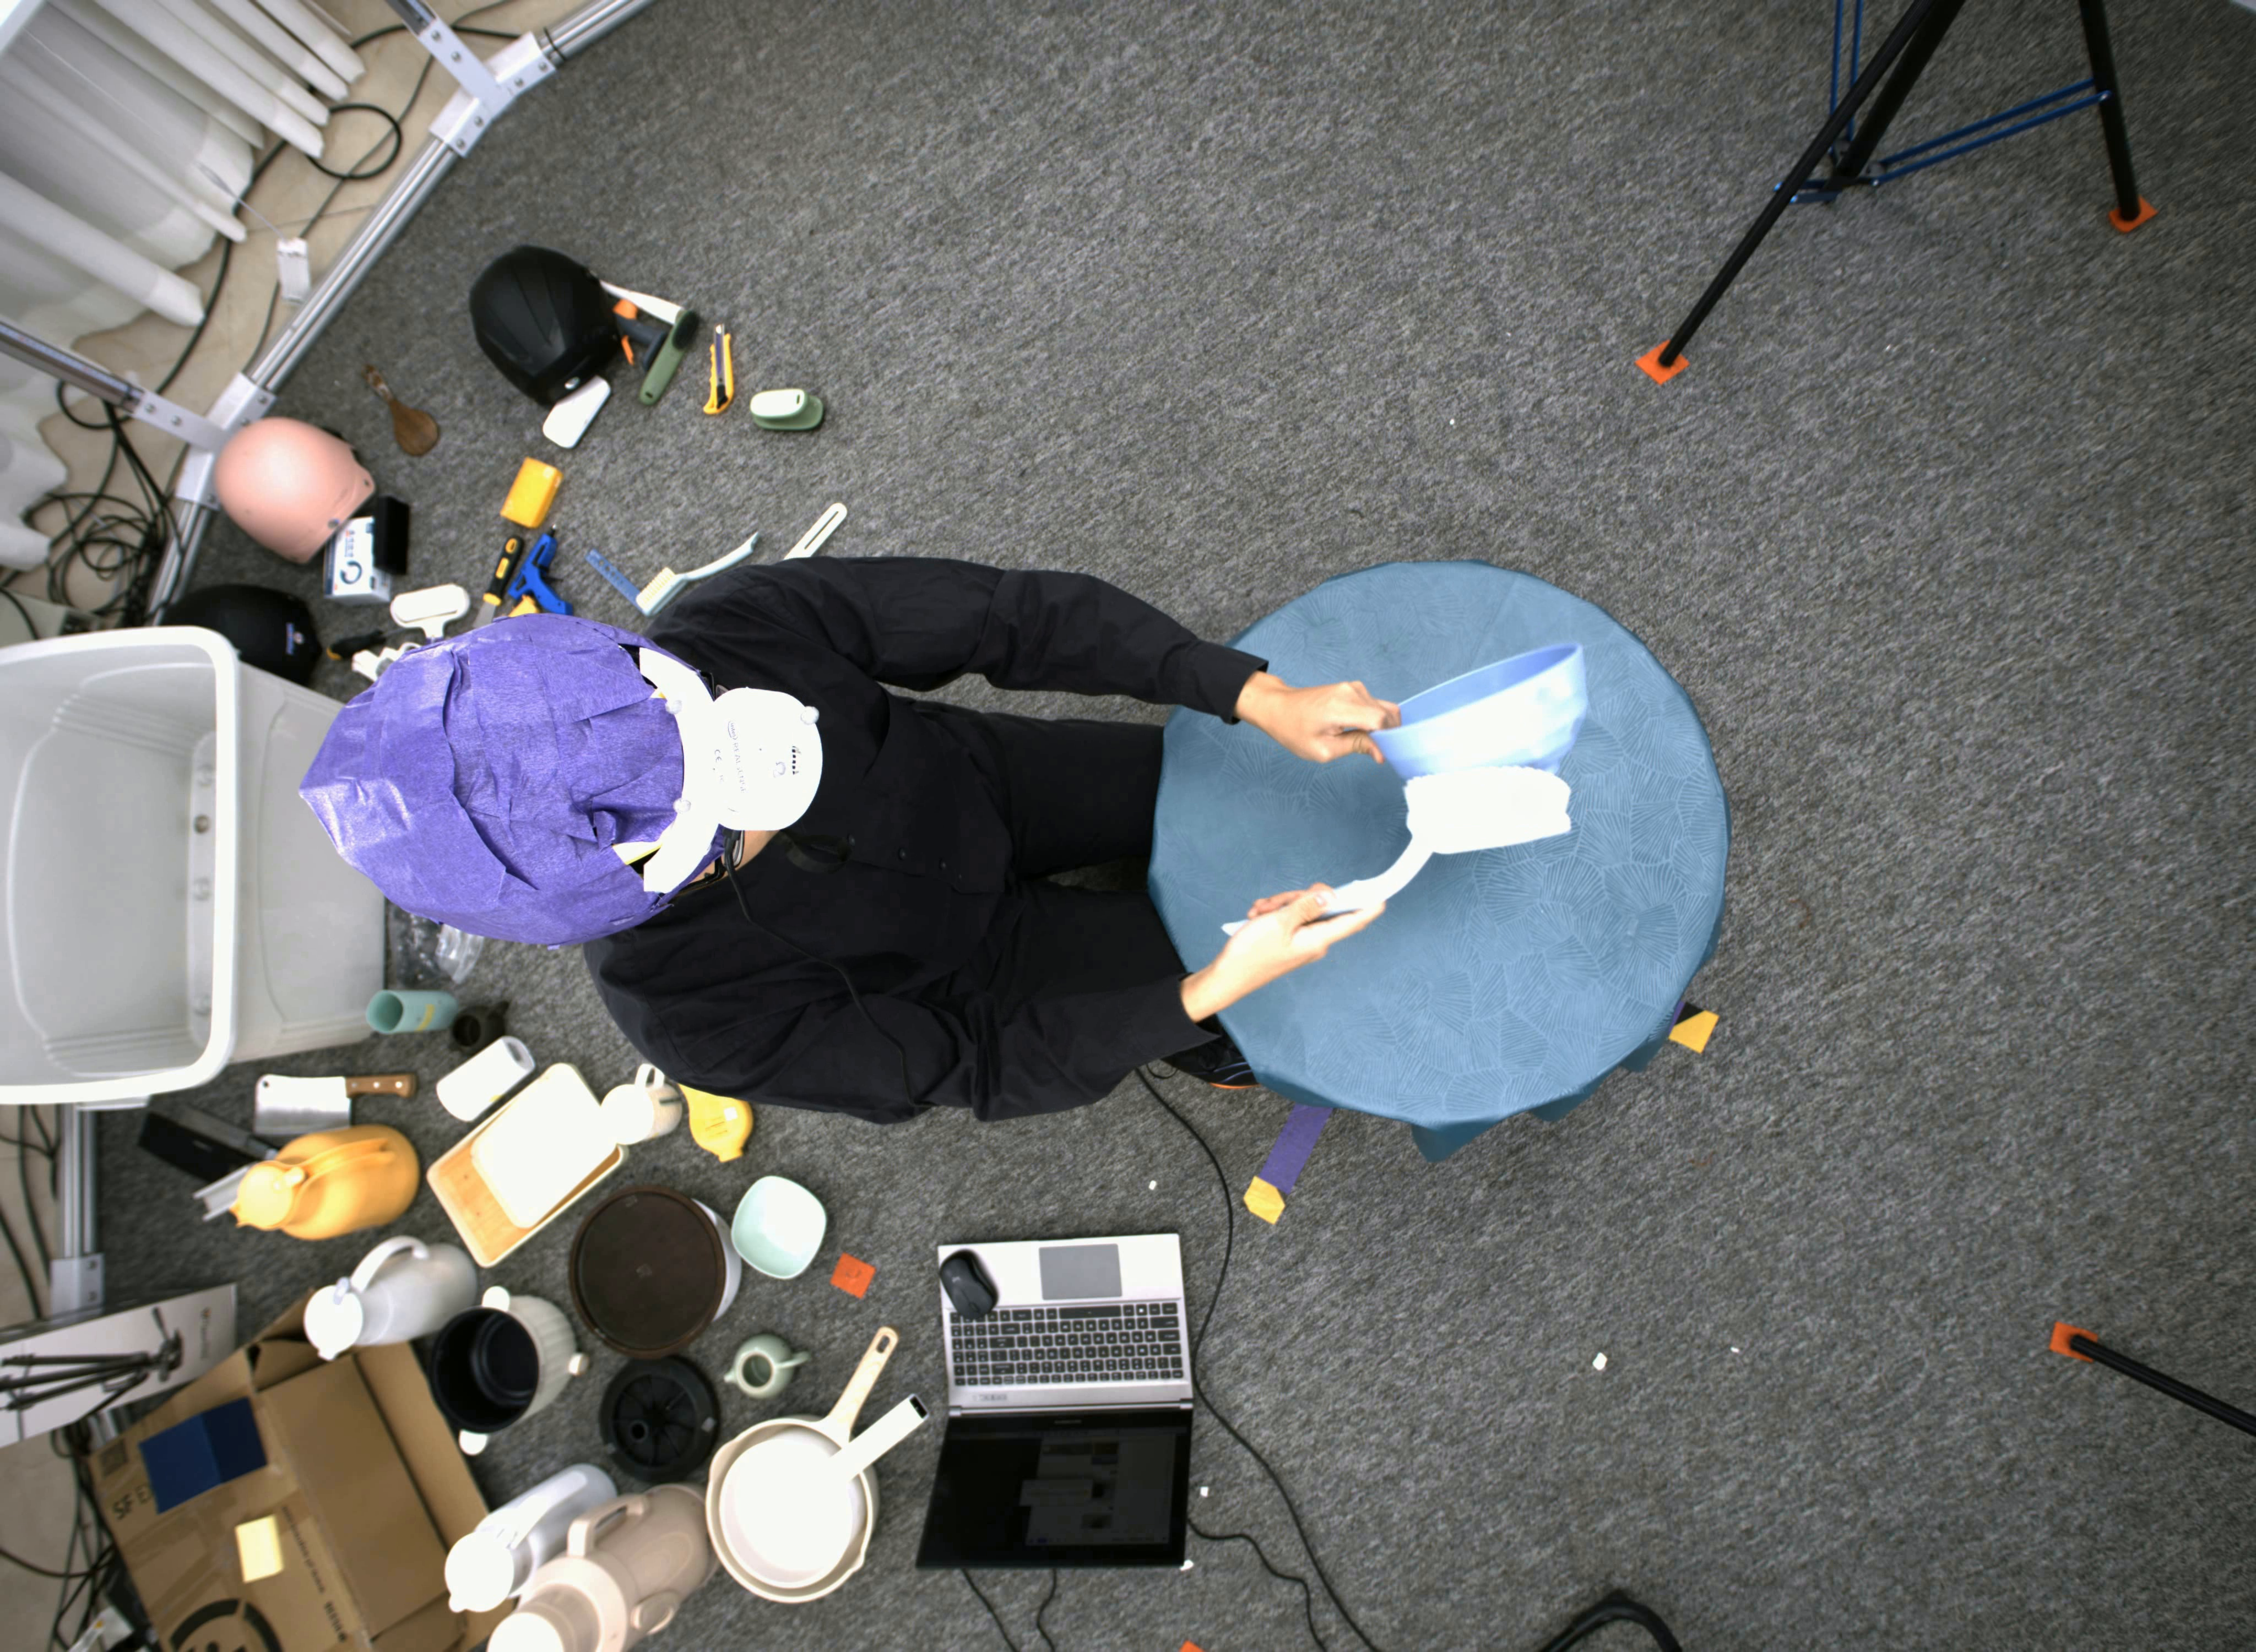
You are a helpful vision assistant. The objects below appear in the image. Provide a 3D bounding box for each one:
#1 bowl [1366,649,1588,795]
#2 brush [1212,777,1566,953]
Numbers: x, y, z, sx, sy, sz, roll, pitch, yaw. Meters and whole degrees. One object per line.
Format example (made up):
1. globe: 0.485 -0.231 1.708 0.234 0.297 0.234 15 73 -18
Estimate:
1. bowl: 0.316 -0.076 1.198 0.197 0.194 0.096 -22 99 7
2. brush: 0.212 0.019 1.181 0.329 0.082 0.084 -20 111 25
